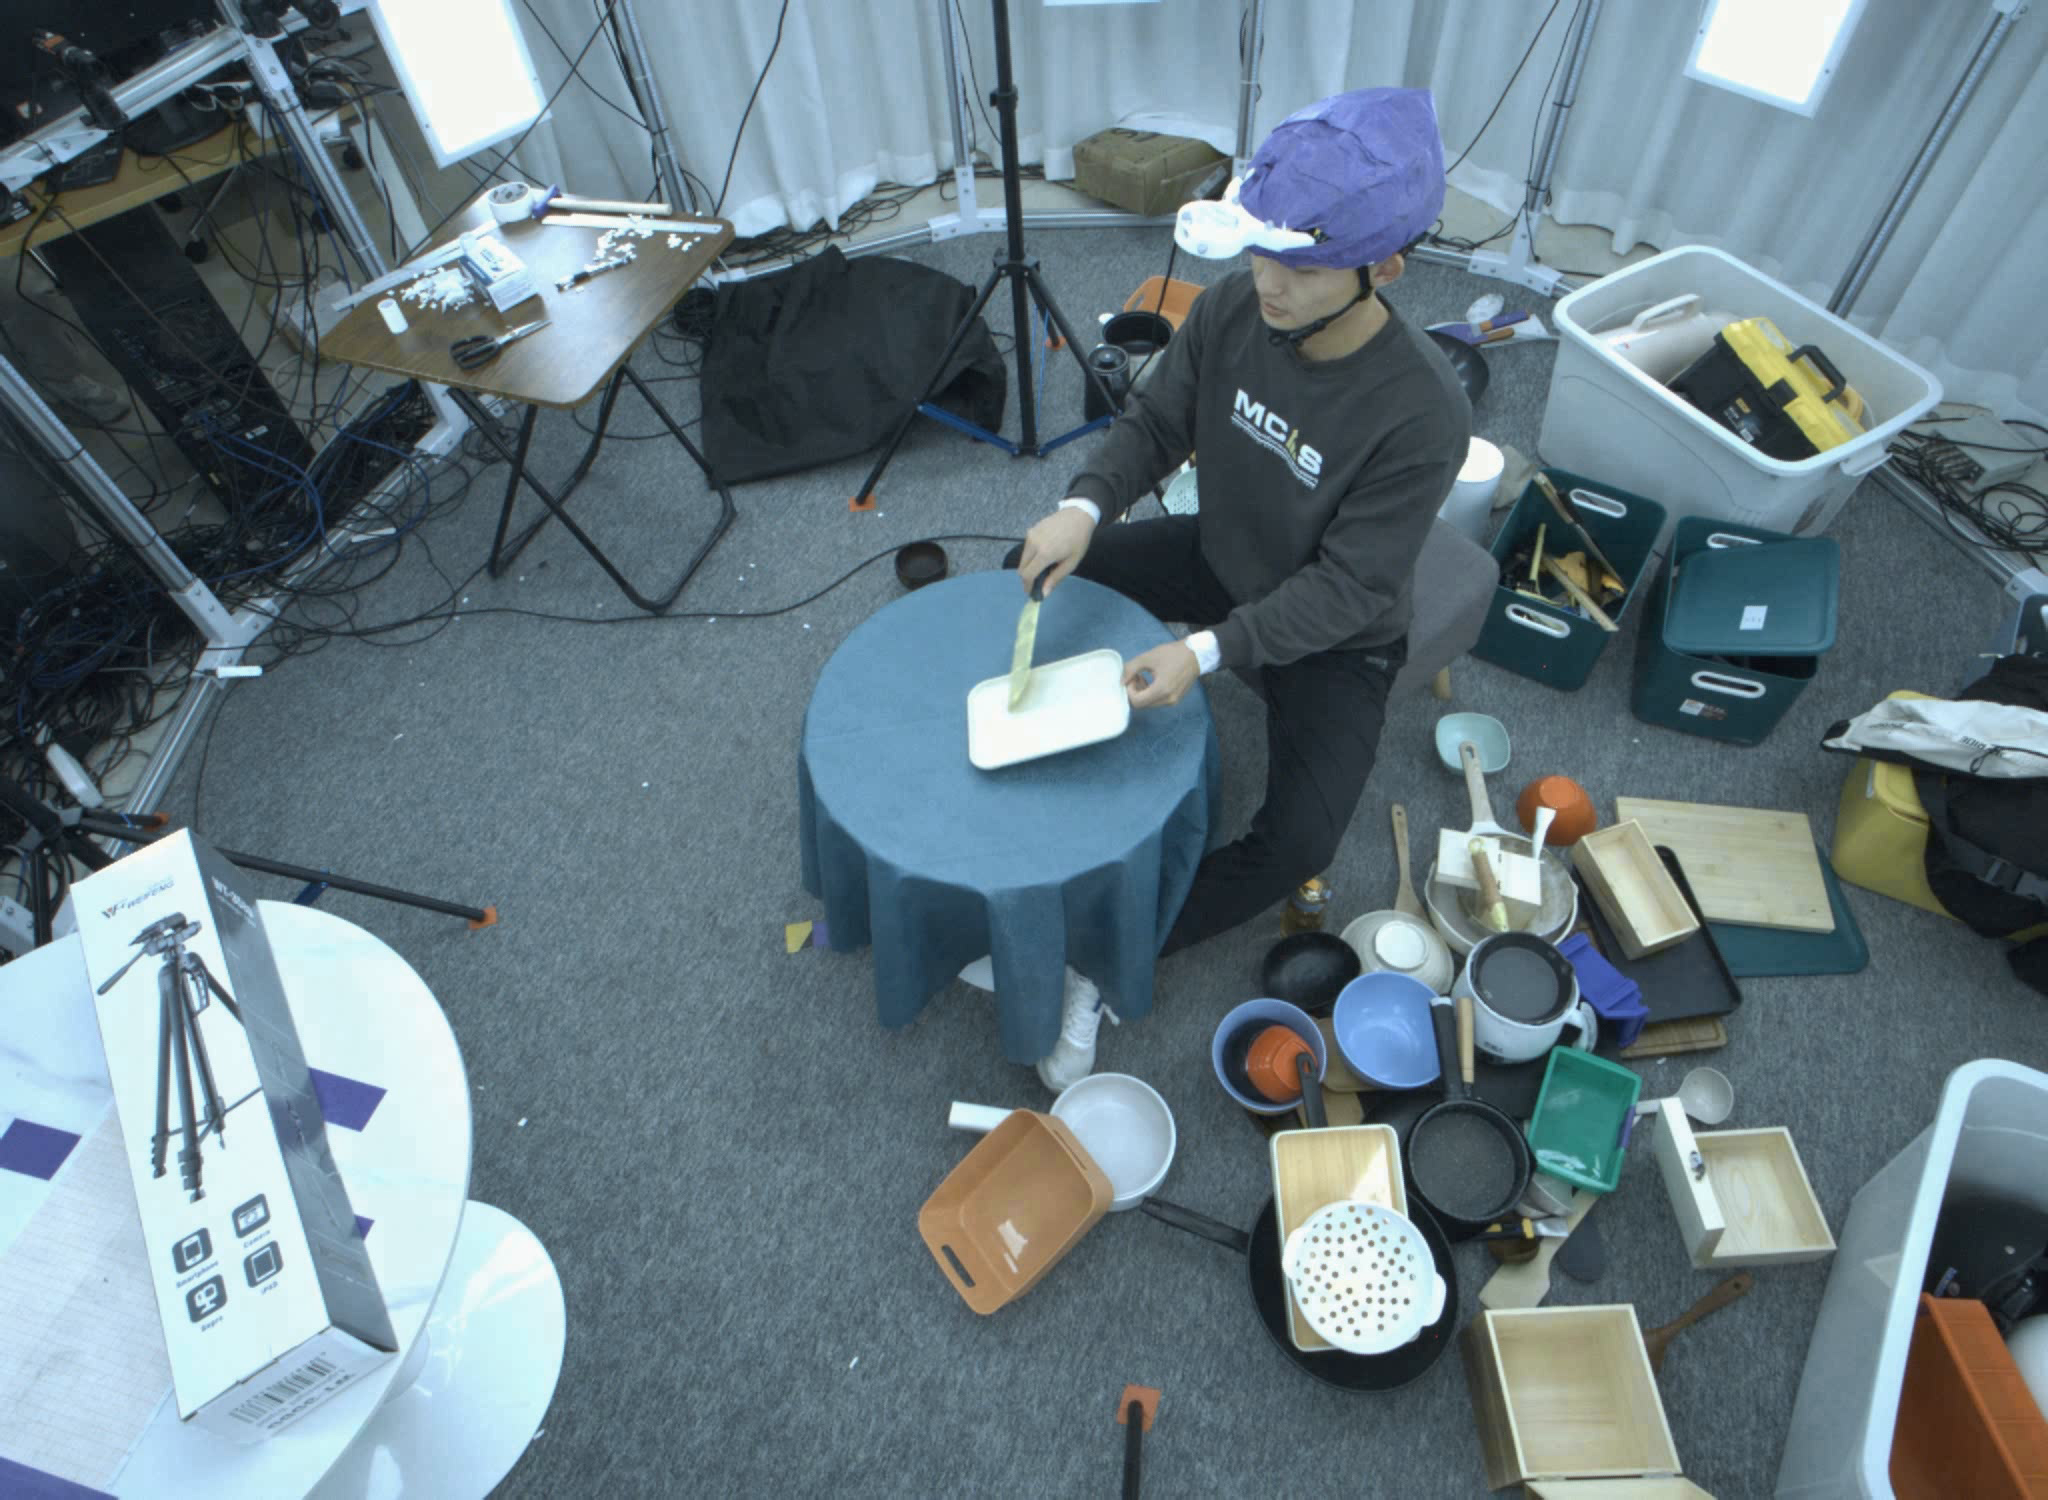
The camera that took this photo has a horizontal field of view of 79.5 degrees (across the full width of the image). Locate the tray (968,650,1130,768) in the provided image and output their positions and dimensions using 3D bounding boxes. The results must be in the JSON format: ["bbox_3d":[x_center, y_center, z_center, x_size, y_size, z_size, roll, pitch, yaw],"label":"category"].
[{"bbox_3d":[0.034,-0.058,1.787,0.238,0.018,0.169,-14,48,10],"label":"tray"}]

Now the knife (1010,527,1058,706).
[{"bbox_3d":[0.012,-0.200,1.836,0.028,0.080,0.288,18,72,-22],"label":"knife"}]
